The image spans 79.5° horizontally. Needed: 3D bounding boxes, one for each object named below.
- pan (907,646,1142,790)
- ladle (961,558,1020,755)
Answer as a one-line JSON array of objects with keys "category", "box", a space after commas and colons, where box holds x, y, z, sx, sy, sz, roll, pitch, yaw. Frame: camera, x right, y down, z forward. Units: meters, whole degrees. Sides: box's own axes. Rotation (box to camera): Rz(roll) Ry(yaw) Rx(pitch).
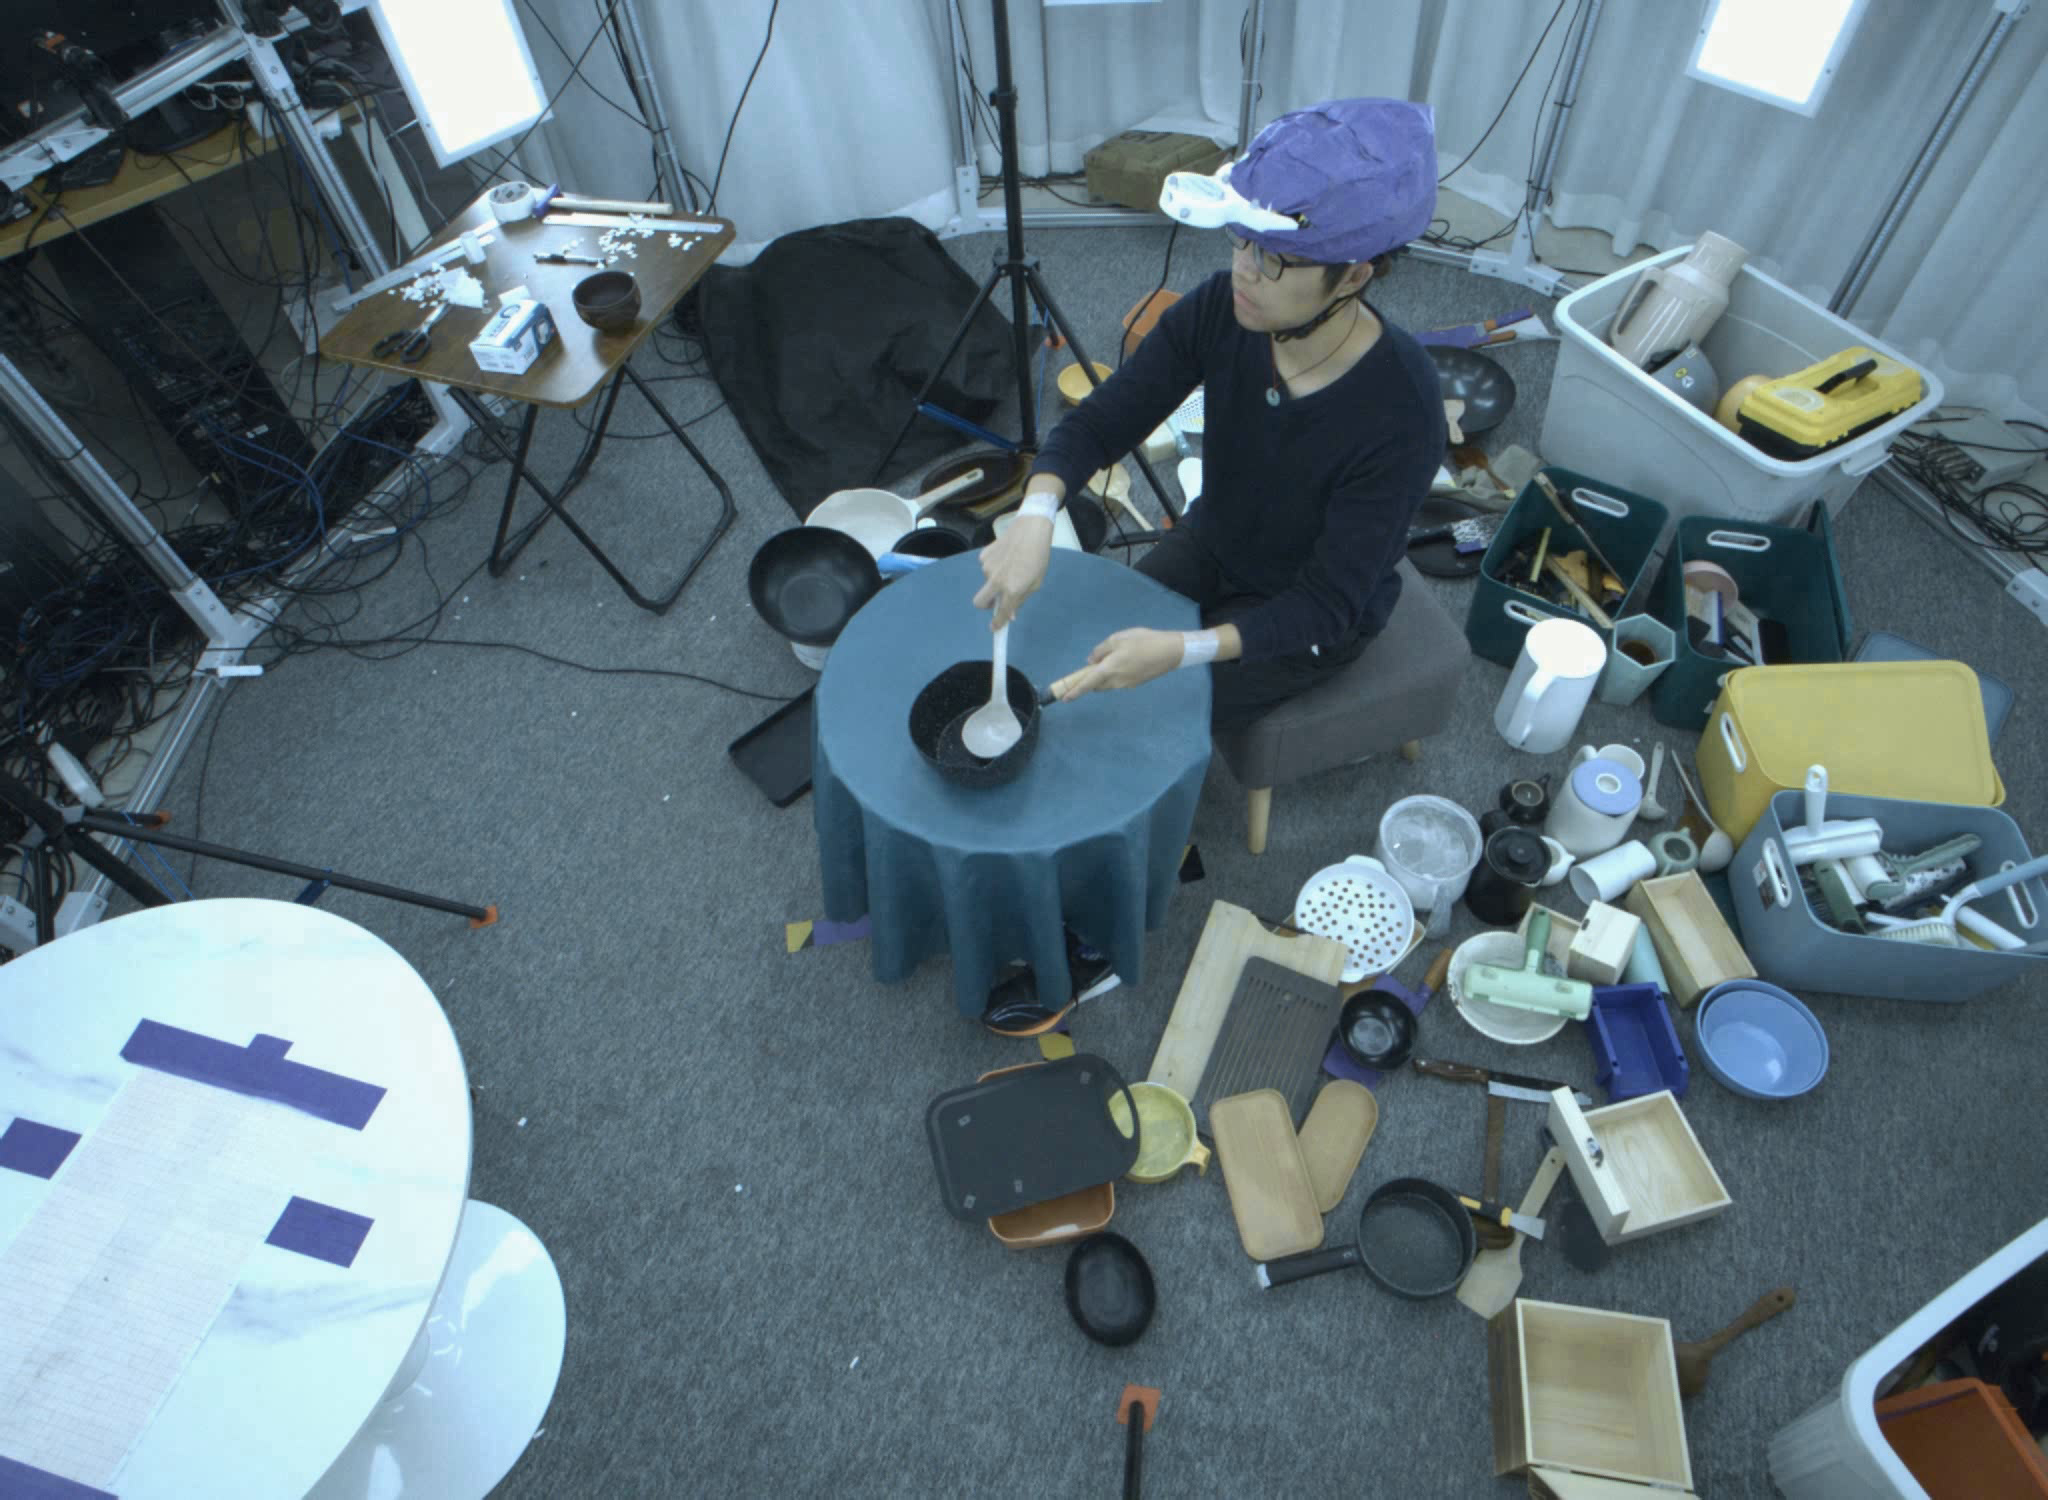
[{"category": "pan", "box": [0.008, -0.060, 1.734, 0.342, 0.110, 0.204, -19, 53, 3]}, {"category": "ladle", "box": [-0.045, -0.126, 1.706, 0.088, 0.277, 0.070, 16, 30, 27]}]
